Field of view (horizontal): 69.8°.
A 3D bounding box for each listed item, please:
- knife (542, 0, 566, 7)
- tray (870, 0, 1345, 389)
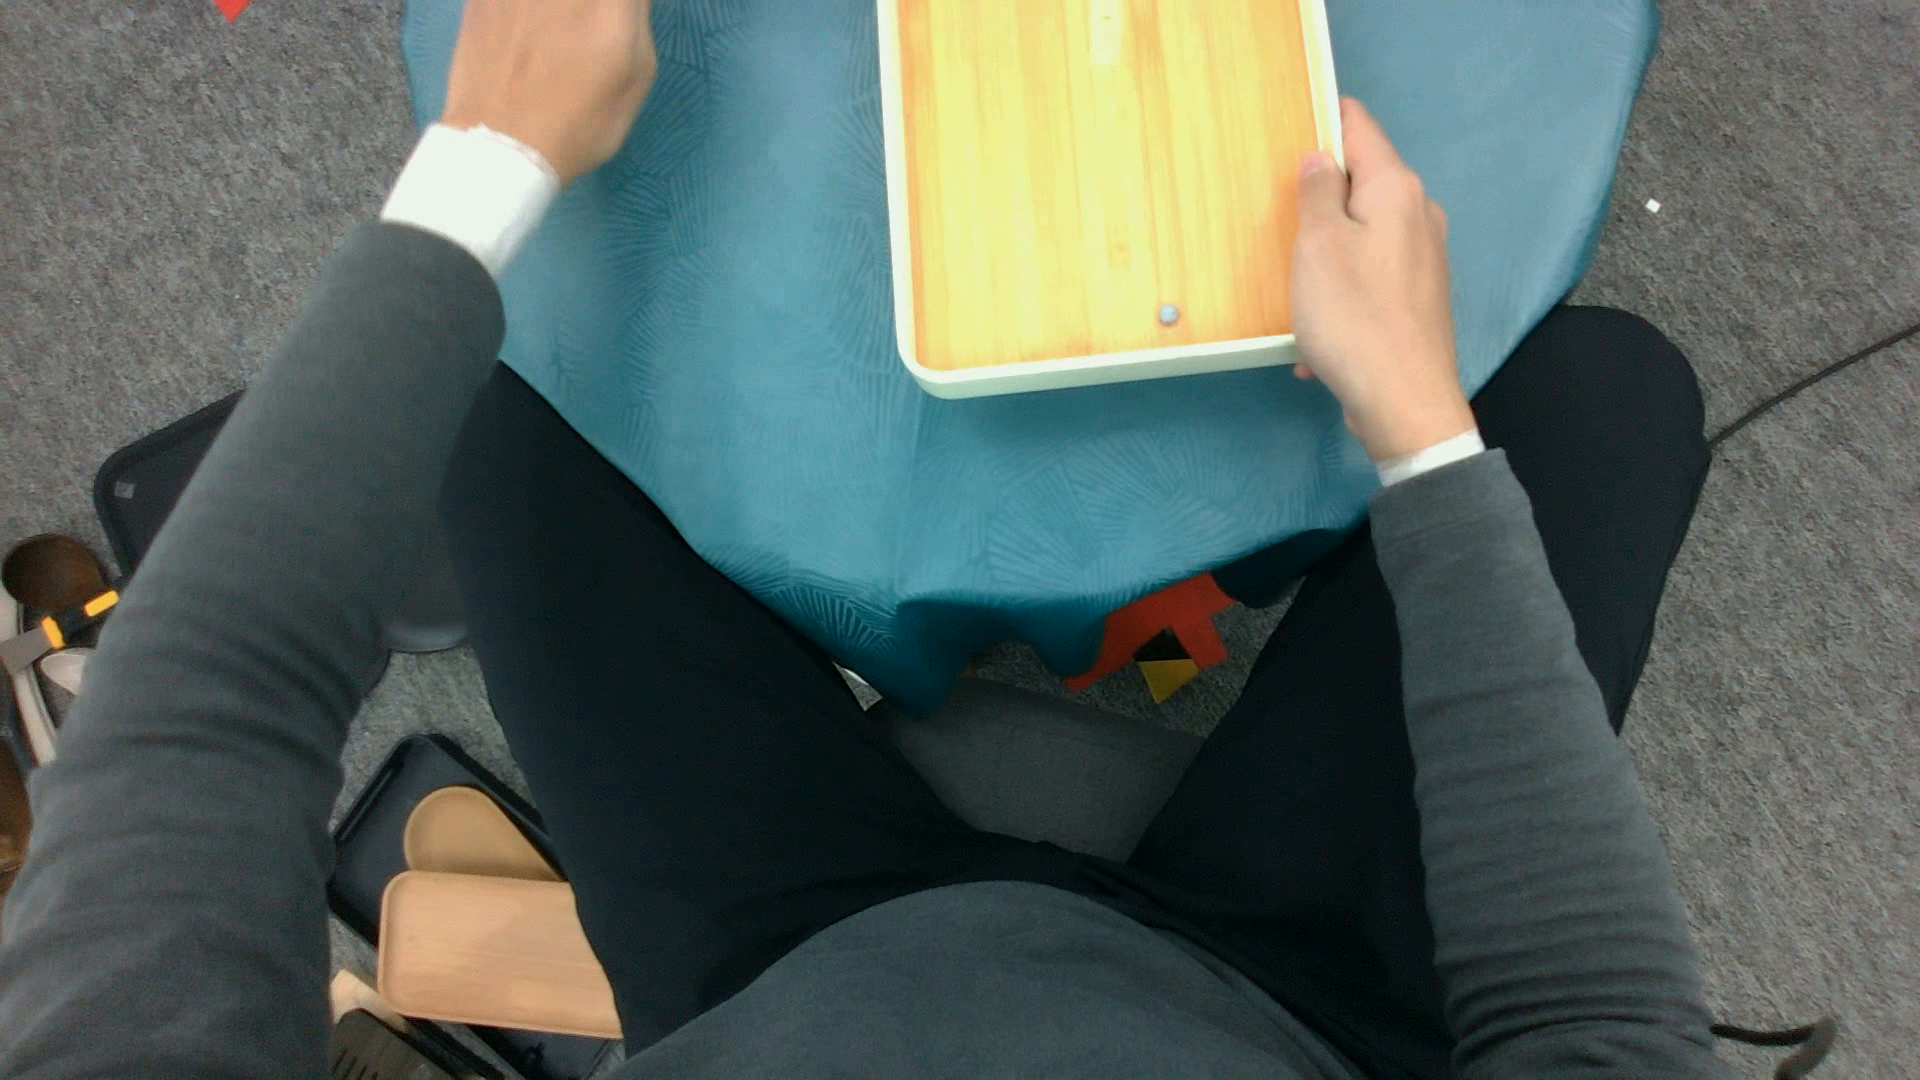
[{"bbox_3d":[-0.096,-0.305,0.593,0.237,0.016,0.024,-31,72,16],"label":"knife"},{"bbox_3d":[0.057,-0.218,0.612,0.191,0.027,0.301,-5,74,8],"label":"tray"}]
